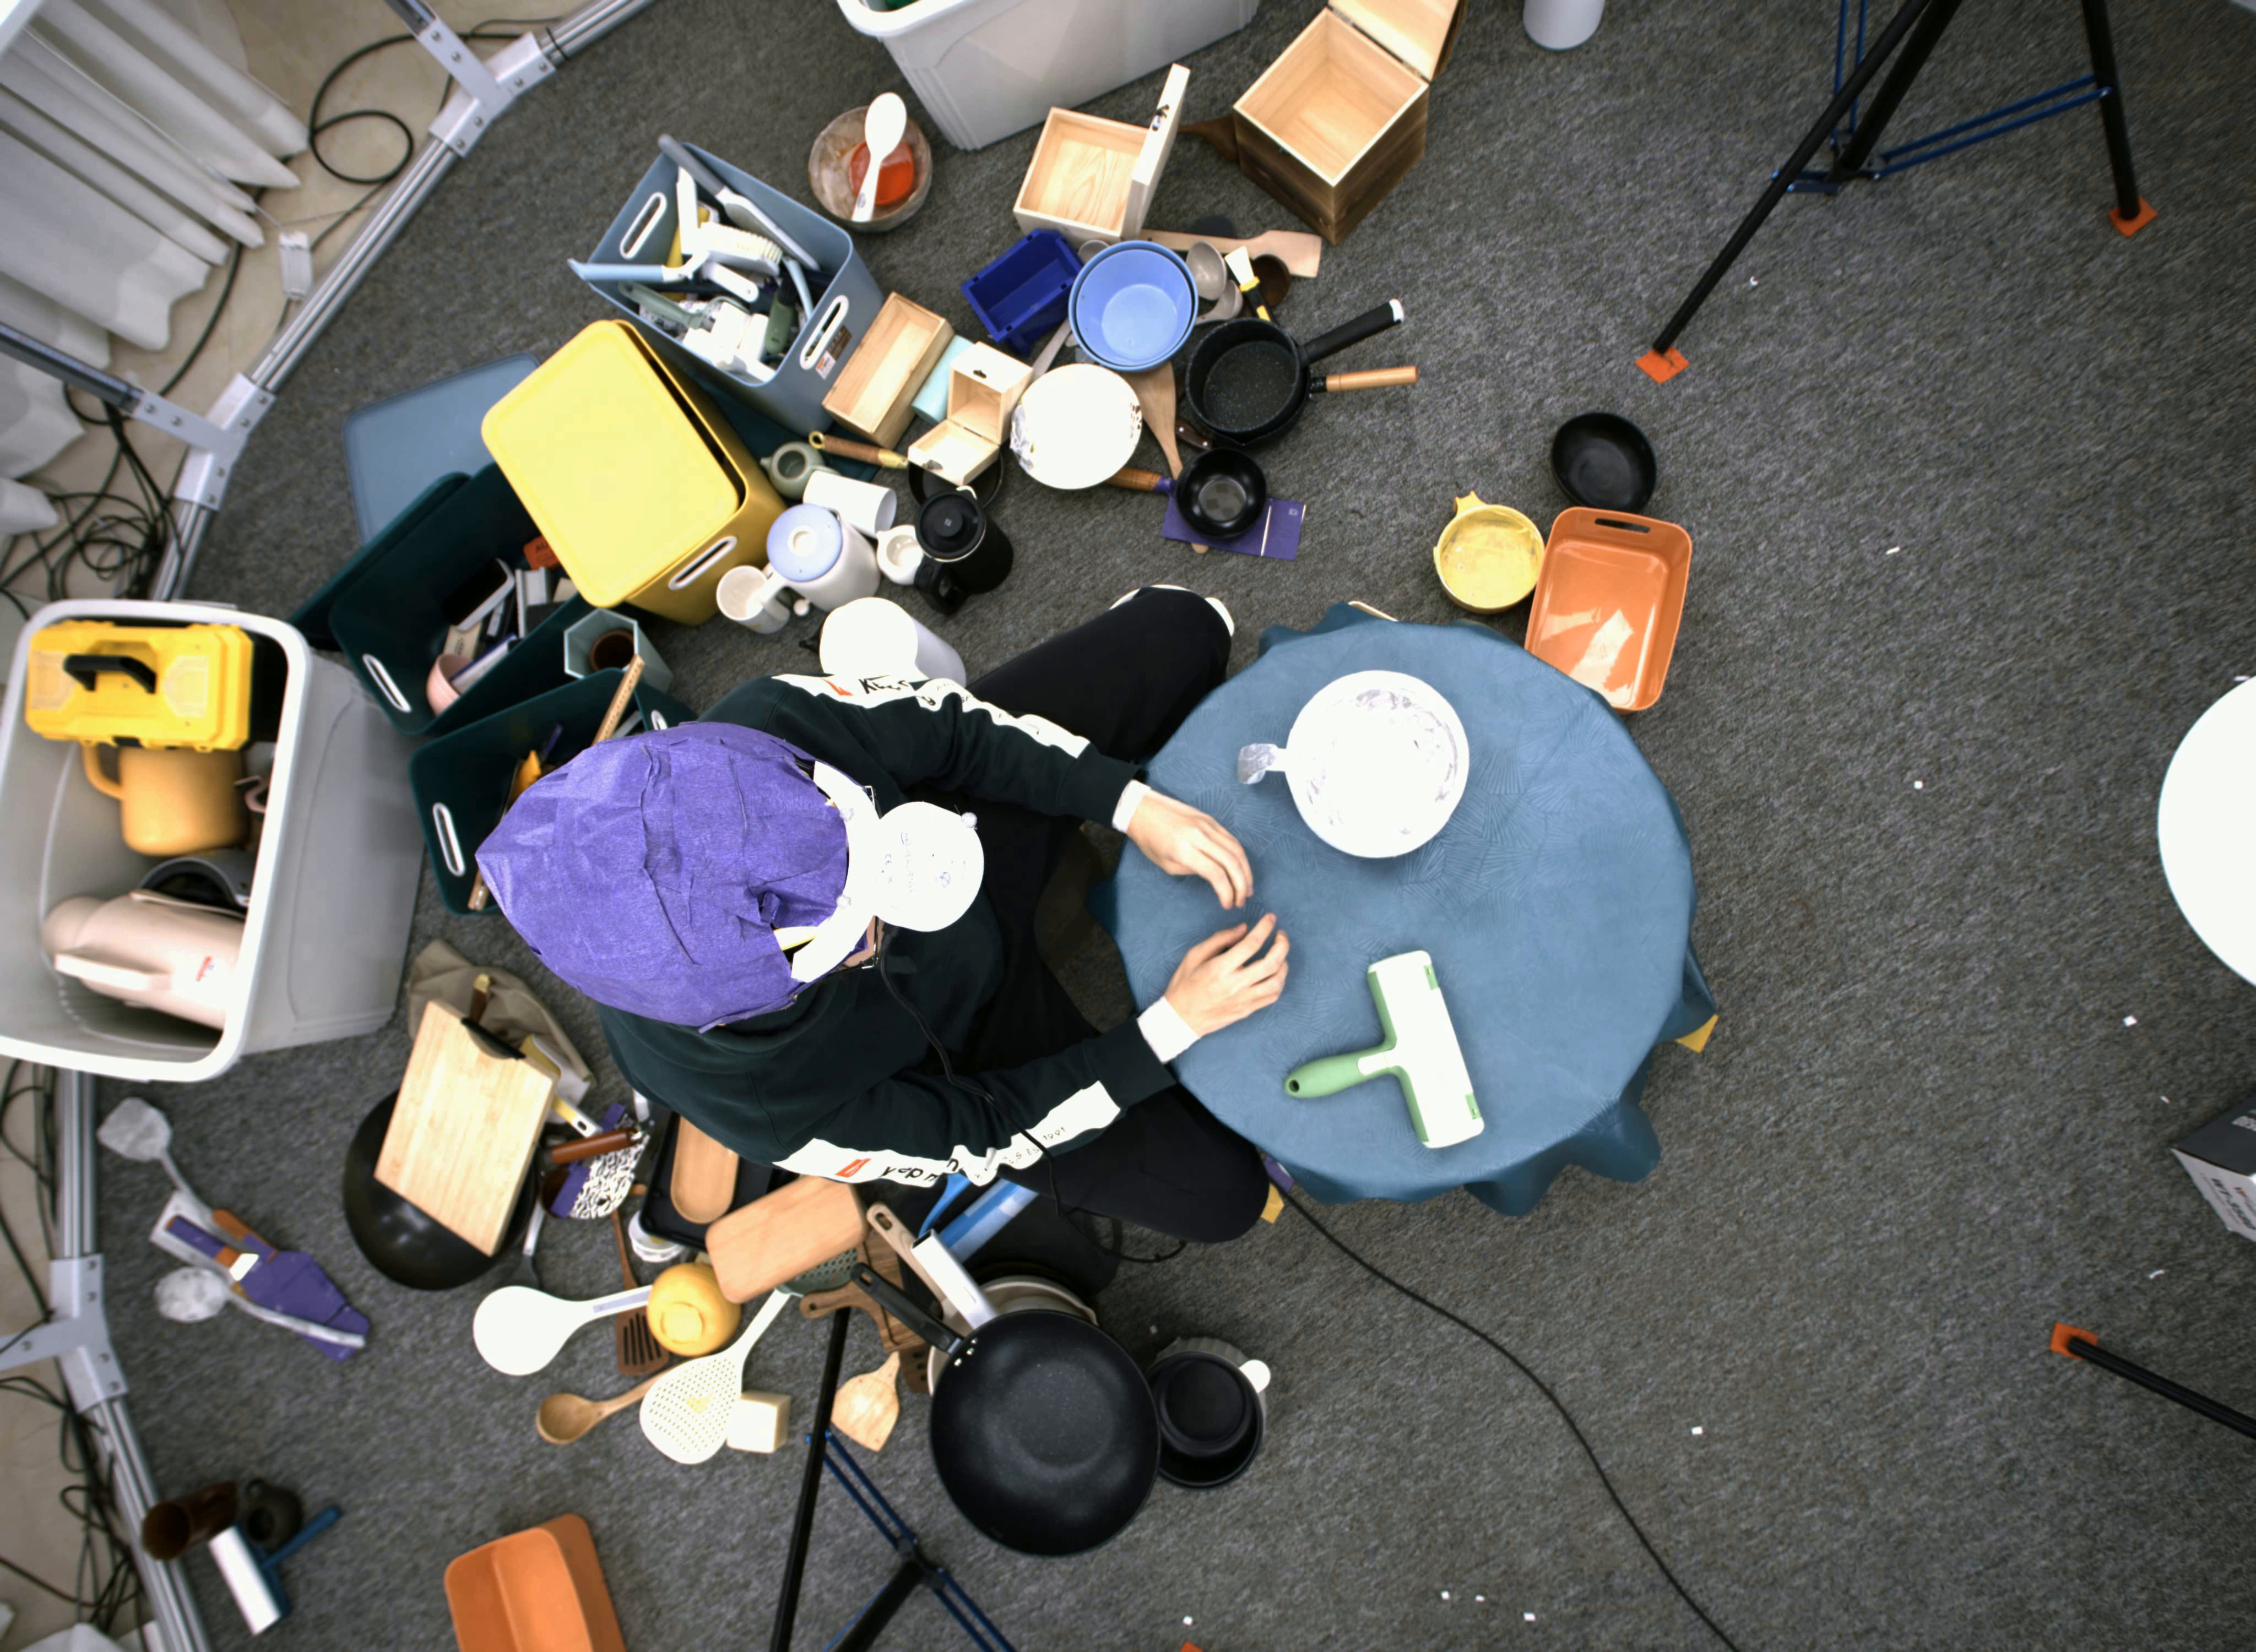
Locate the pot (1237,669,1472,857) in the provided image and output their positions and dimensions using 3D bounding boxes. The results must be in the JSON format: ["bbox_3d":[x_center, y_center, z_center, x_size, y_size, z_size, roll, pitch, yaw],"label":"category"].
[{"bbox_3d":[0.225,-0.061,1.400,0.234,0.137,0.178,3,86,9],"label":"pot"}]

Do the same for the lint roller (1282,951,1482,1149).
[{"bbox_3d":[0.246,0.243,1.413,0.184,0.082,0.197,-17,84,4],"label":"lint roller"}]
